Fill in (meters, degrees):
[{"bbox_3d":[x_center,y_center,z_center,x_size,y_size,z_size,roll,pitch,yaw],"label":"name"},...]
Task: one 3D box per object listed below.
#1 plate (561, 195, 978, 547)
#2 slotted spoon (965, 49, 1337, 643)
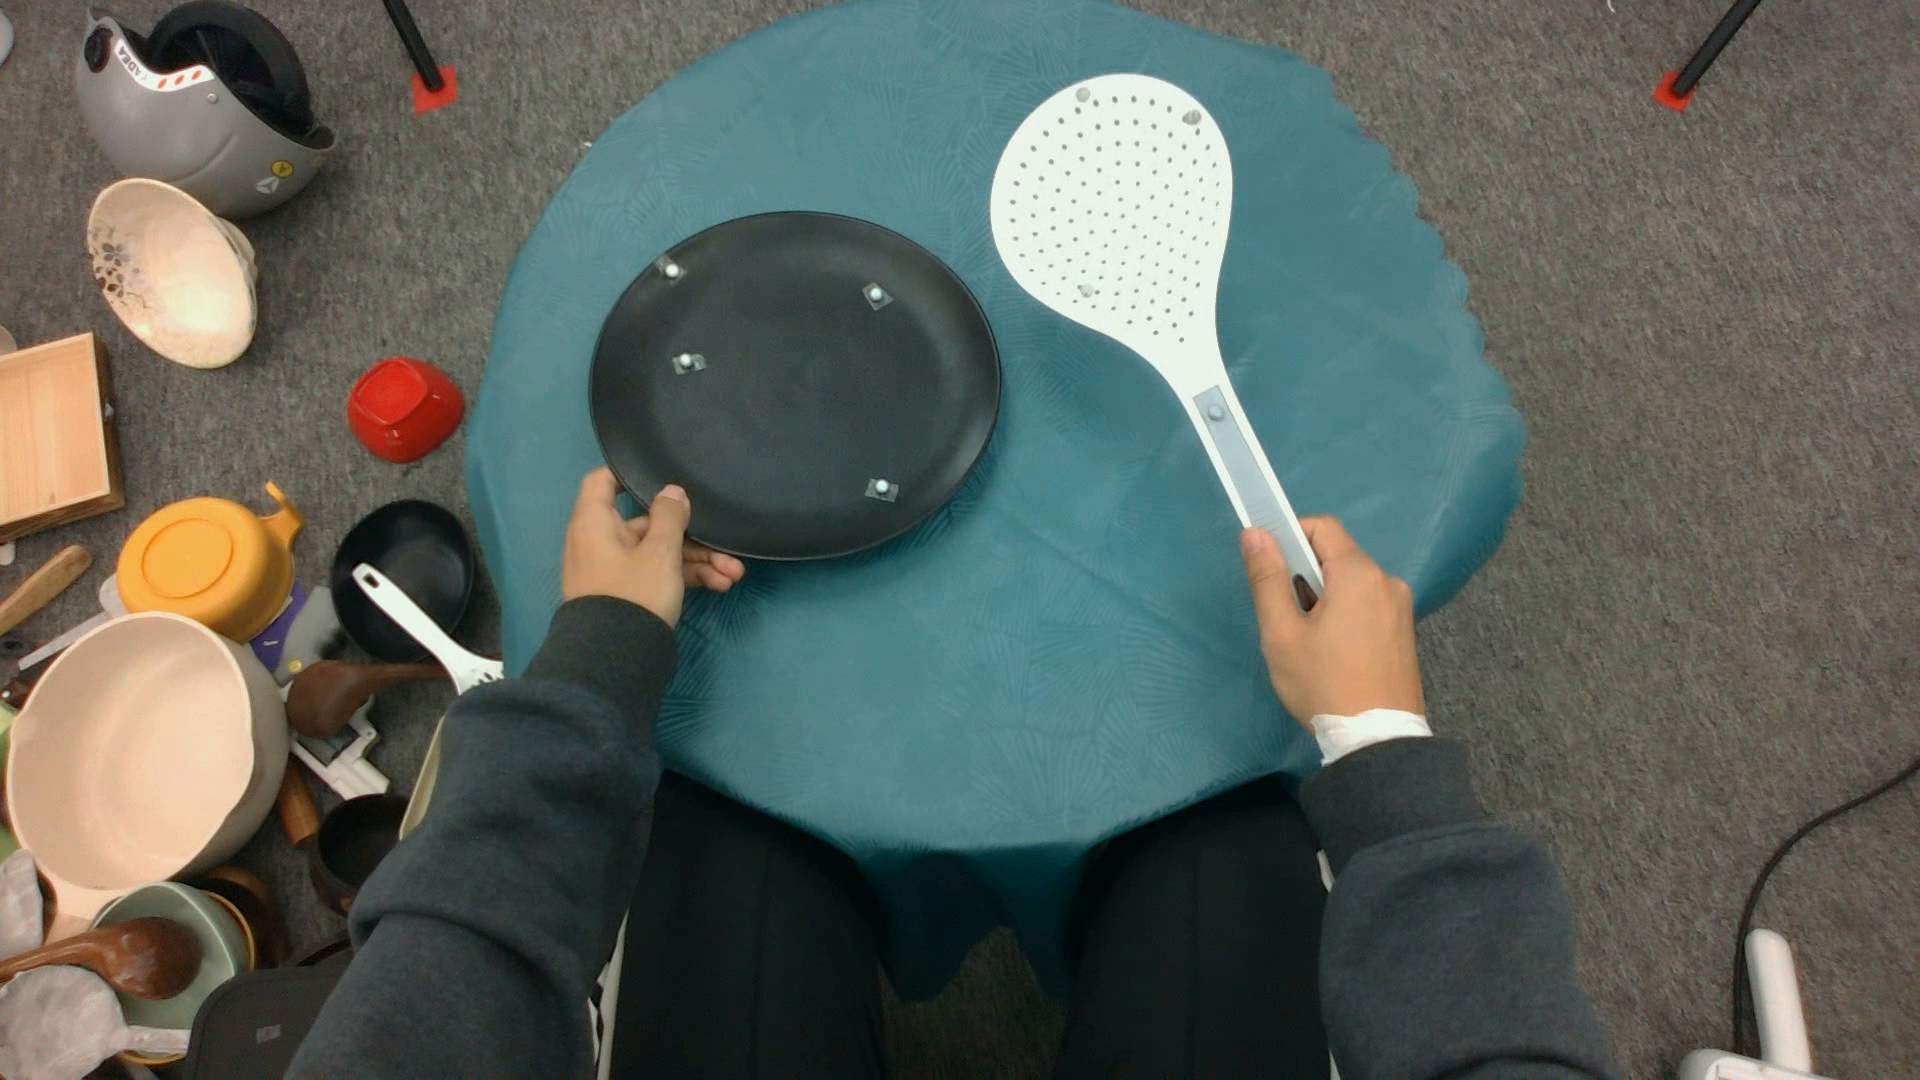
[{"bbox_3d":[-0.111,-0.103,0.820,0.244,0.023,0.245,2,64,-4],"label":"plate"},{"bbox_3d":[0.114,-0.107,0.746,0.135,0.046,0.350,-28,74,17],"label":"slotted spoon"}]
